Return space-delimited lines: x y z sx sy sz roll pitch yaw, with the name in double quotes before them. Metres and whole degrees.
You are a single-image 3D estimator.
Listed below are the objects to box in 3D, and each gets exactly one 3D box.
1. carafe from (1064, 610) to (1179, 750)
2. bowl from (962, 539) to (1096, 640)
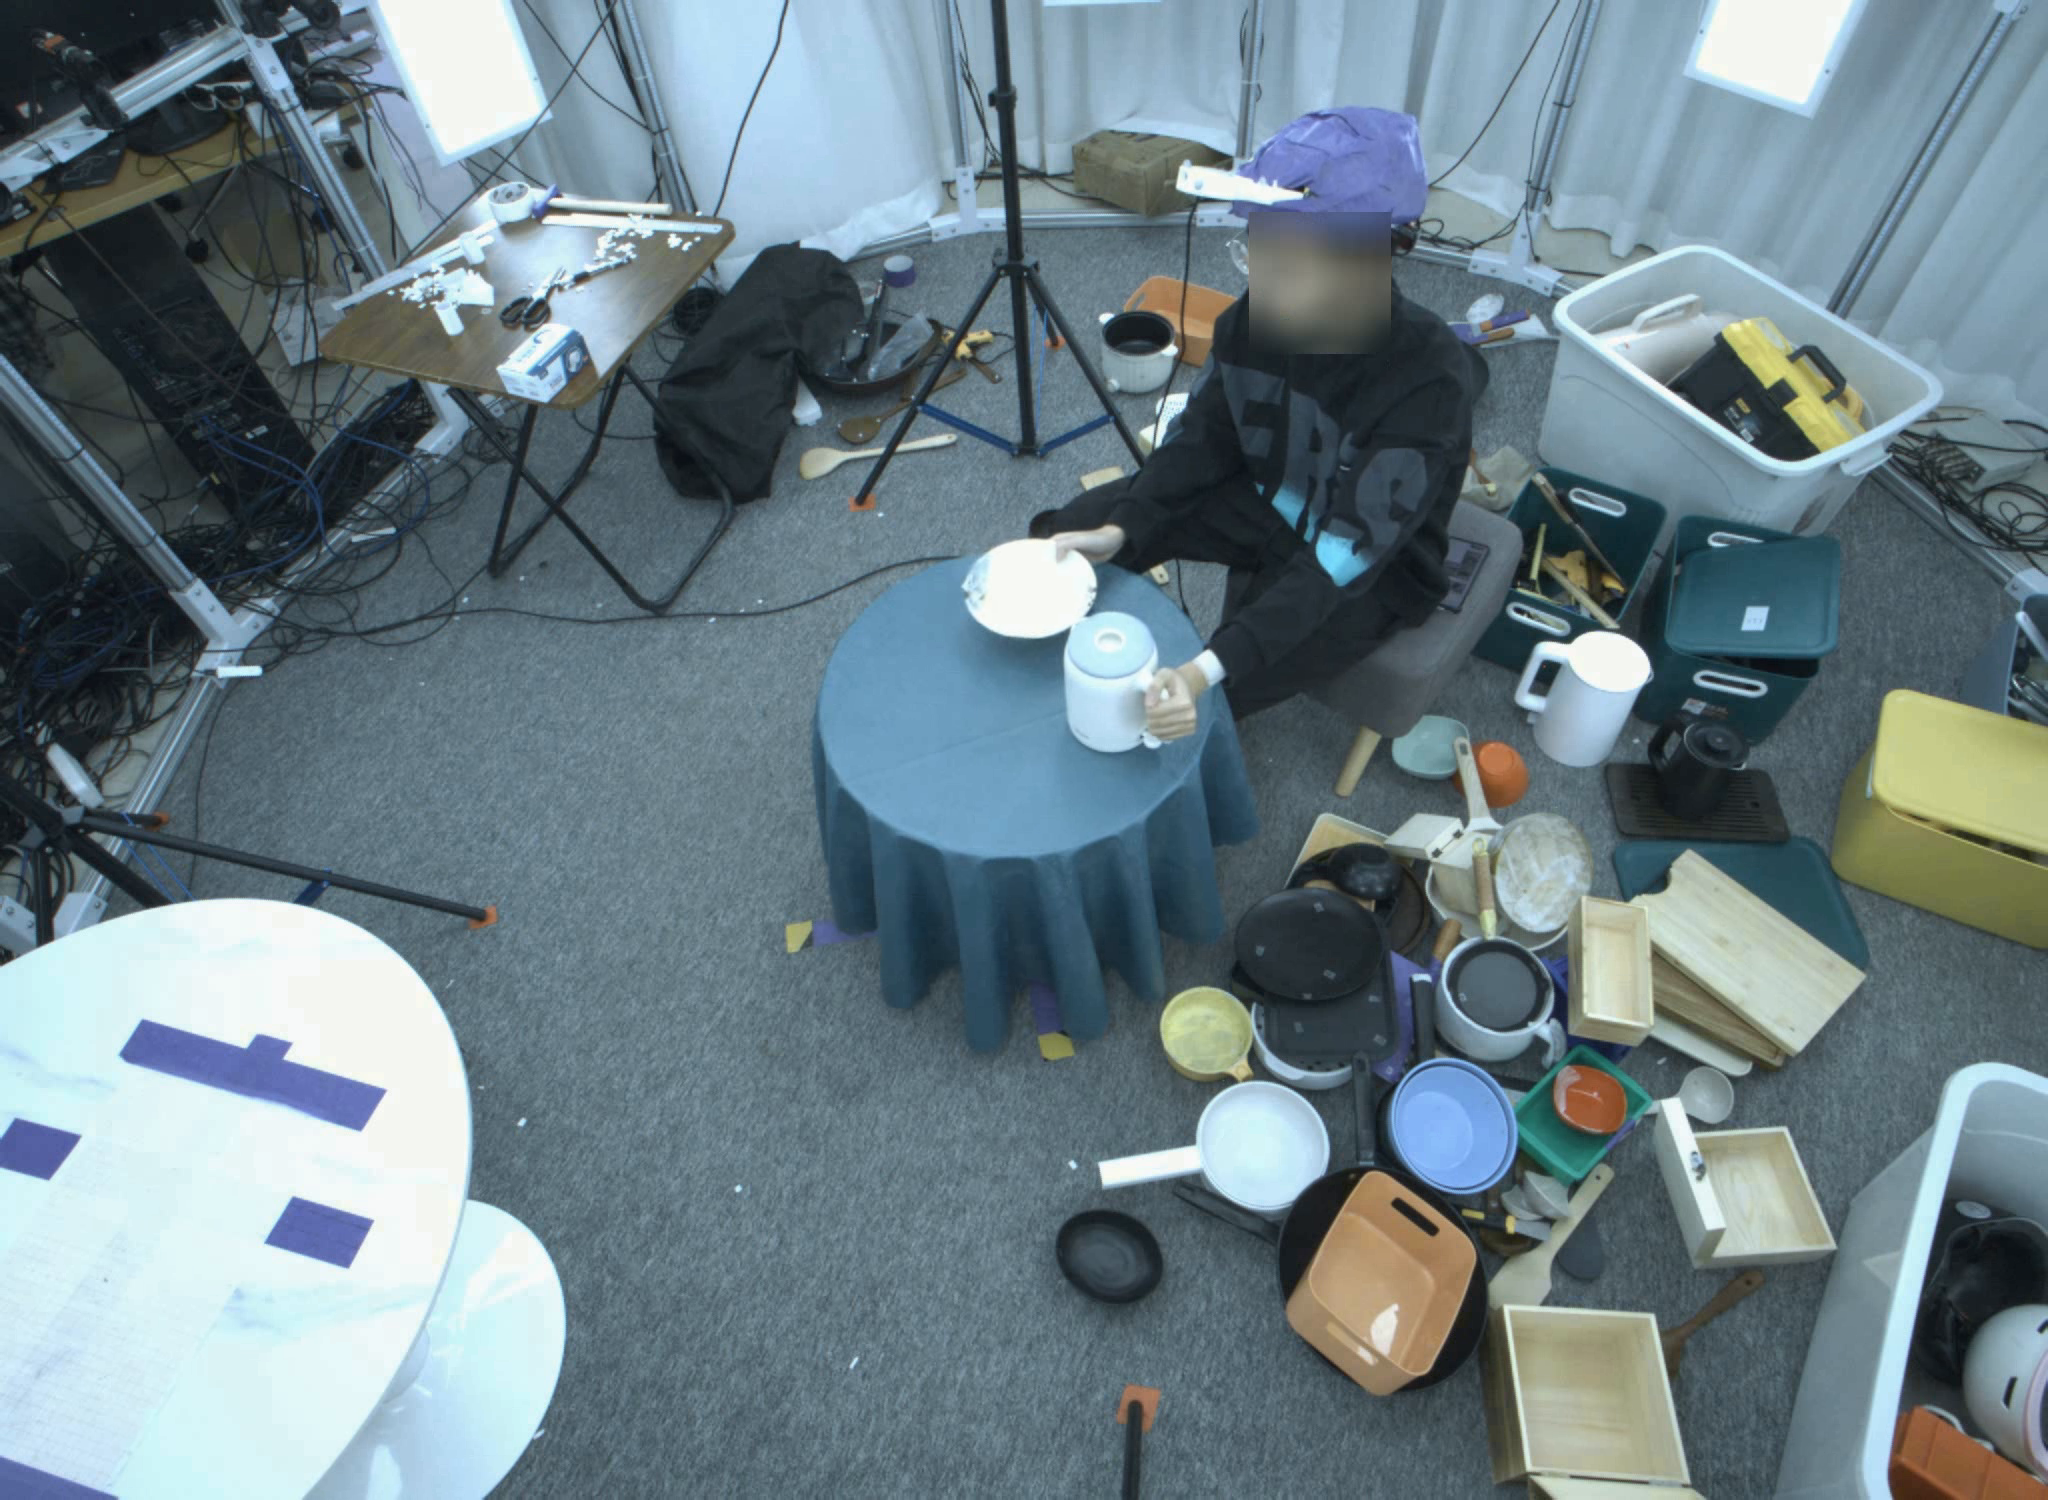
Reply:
"carafe" 0.141 -0.084 1.732 0.188 0.184 0.133 38 66 23
"bowl" 0.007 -0.227 1.899 0.204 0.078 0.202 2 55 -1
